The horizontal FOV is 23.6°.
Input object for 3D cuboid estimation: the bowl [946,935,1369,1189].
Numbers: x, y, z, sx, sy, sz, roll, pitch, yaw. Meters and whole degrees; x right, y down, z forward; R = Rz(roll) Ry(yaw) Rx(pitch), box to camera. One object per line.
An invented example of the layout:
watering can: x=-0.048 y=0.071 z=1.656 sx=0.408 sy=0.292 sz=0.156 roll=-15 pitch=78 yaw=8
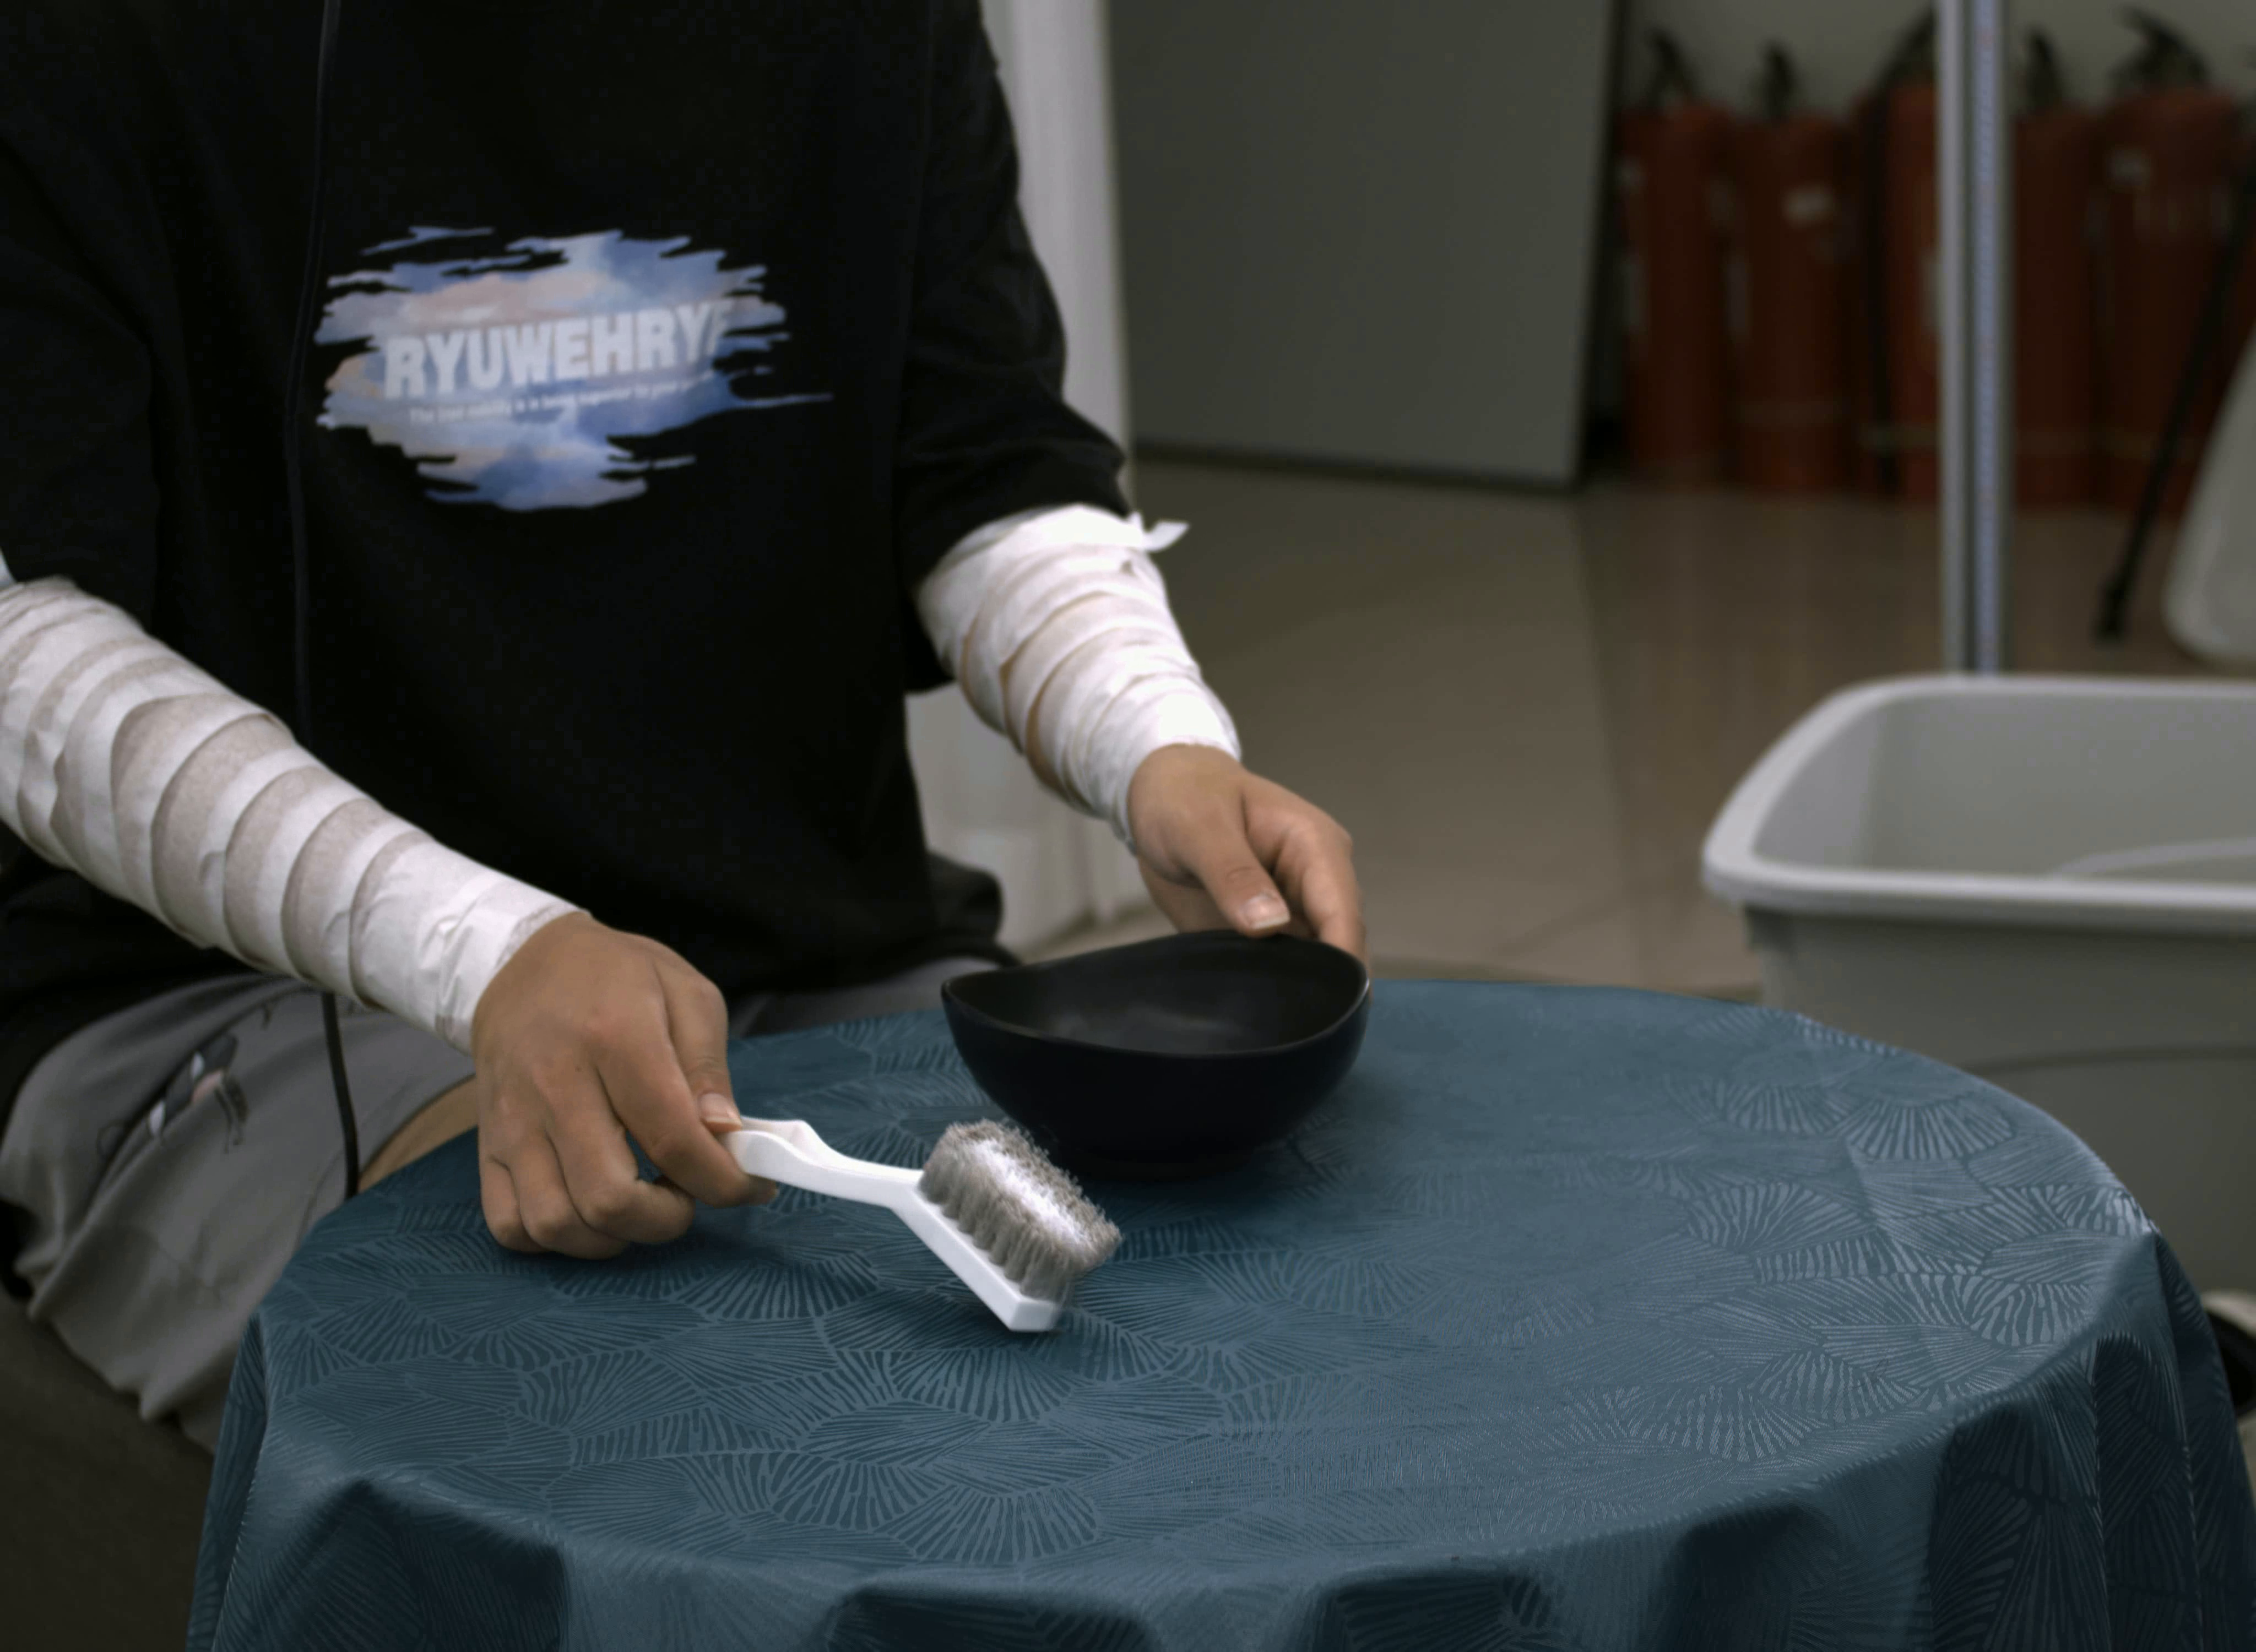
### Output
bowl: x=0.010 y=0.081 z=1.801 sx=0.134 sy=0.067 sz=0.172 roll=-10 pitch=13 yaw=-27

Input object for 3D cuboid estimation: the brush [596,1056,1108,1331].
brush: x=-0.093 y=0.097 z=1.709 sx=0.033 sy=0.051 sz=0.246 roll=-10 pitch=23 yaw=-38
